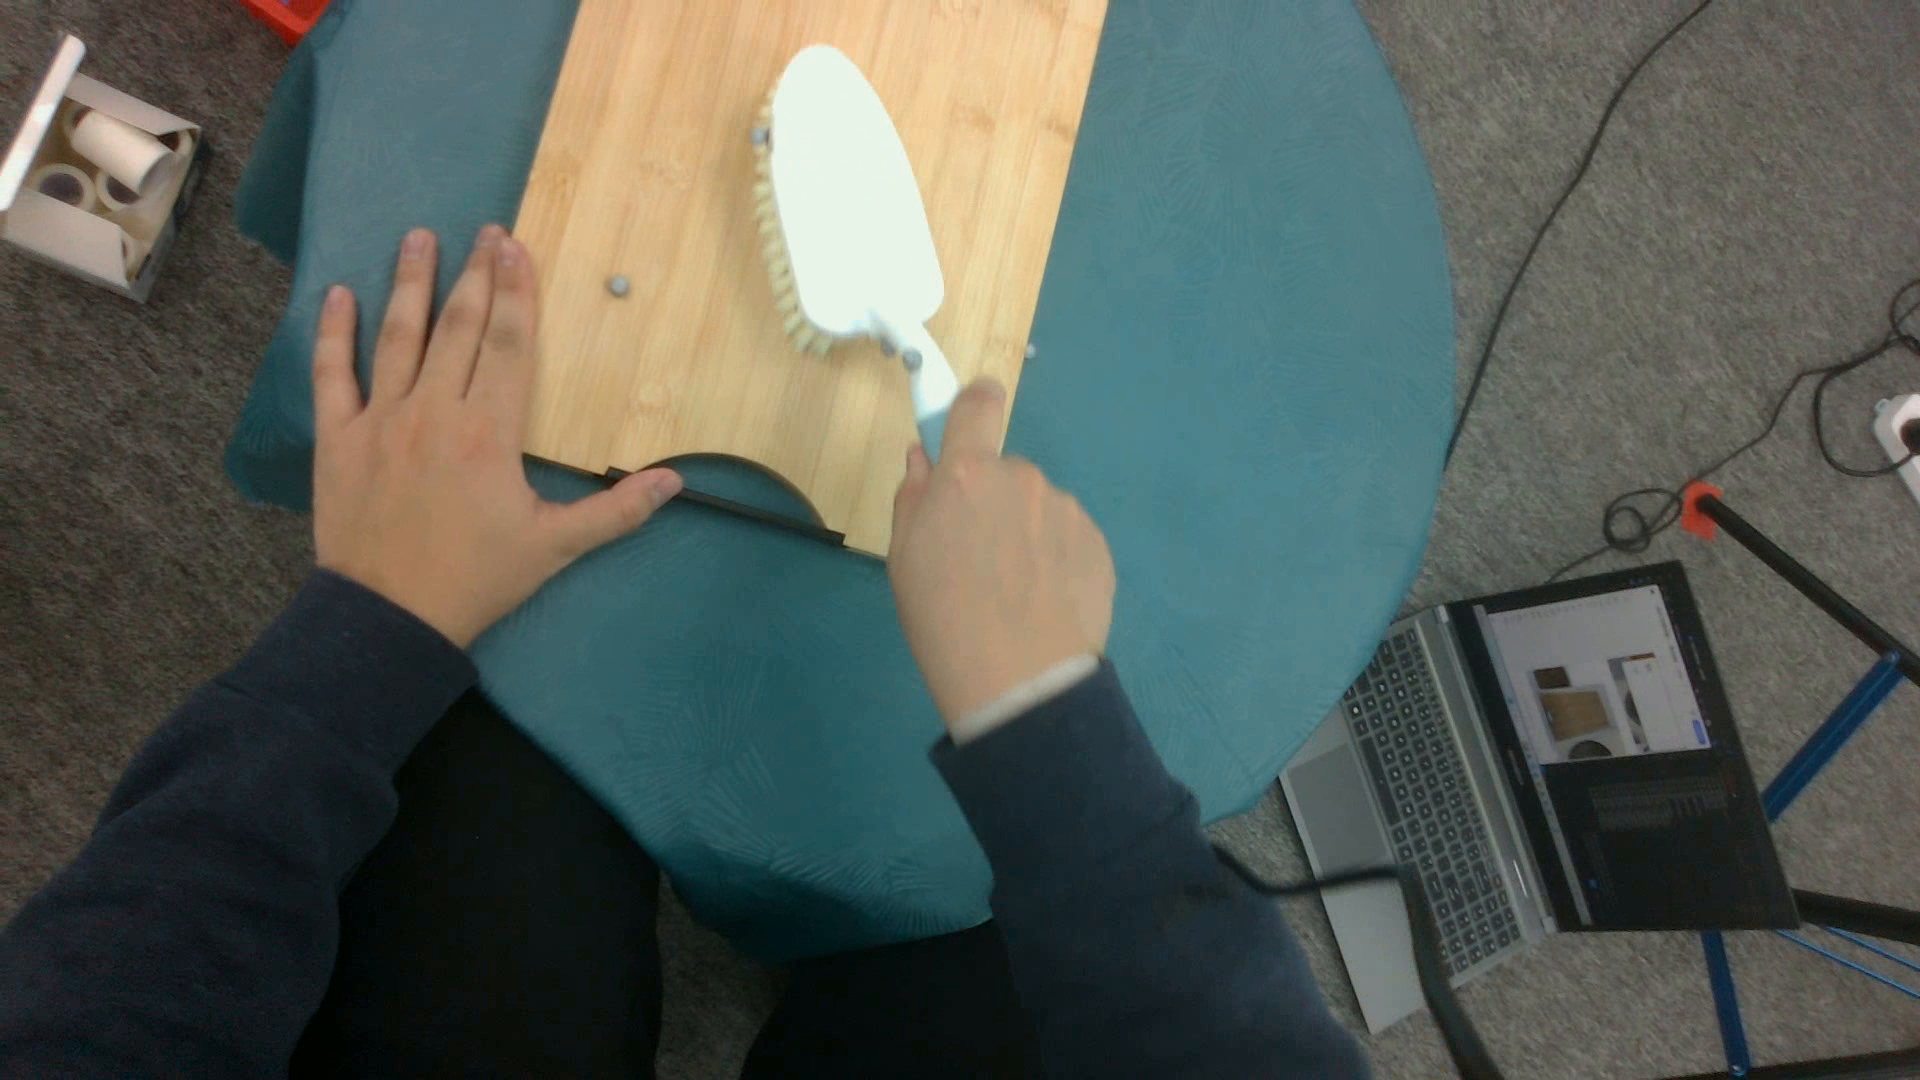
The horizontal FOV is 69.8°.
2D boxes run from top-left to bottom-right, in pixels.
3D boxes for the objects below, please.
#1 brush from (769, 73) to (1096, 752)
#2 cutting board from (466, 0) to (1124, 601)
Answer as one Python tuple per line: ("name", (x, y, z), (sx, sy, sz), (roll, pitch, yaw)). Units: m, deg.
("brush", (-0.021, -0.054, 0.619), (0.083, 0.084, 0.326), (-22, 77, 12))
("cutting board", (-0.065, -0.167, 0.671), (0.251, 0.023, 0.349), (16, 80, -17))
